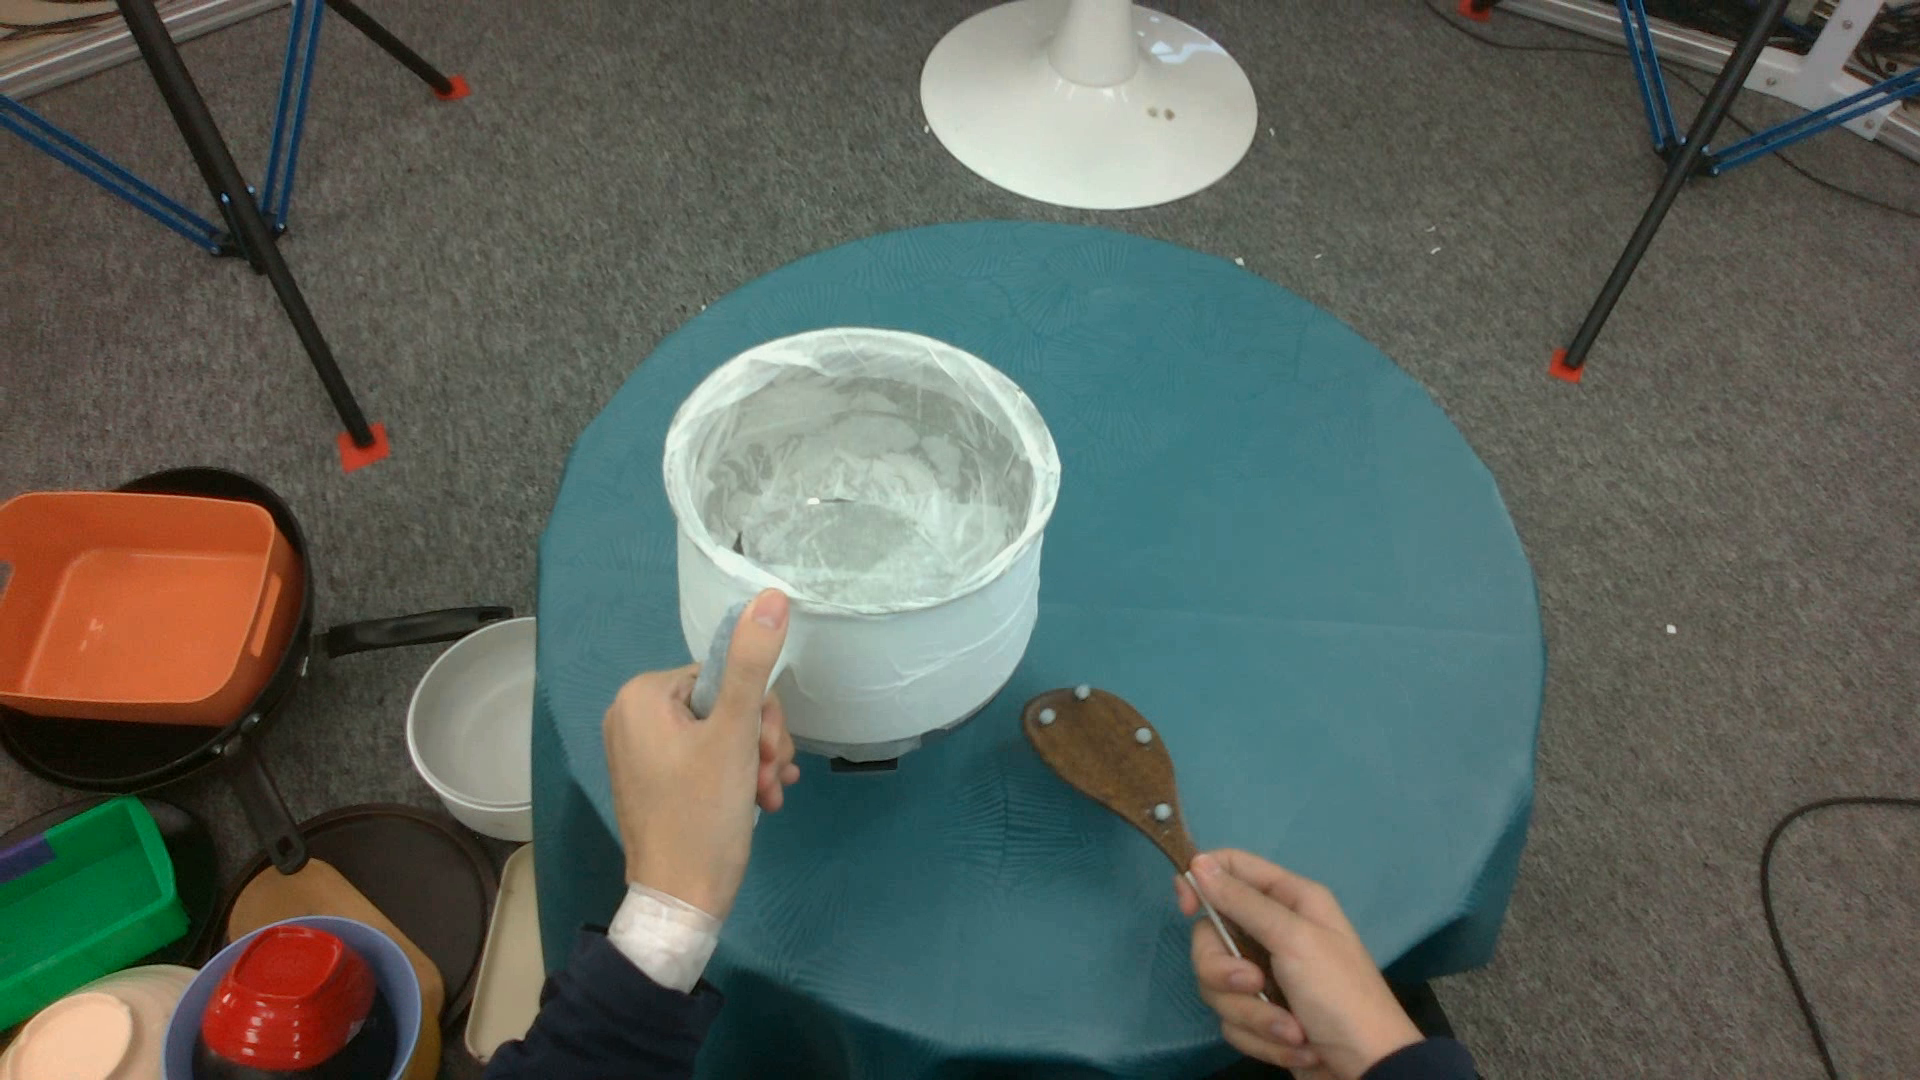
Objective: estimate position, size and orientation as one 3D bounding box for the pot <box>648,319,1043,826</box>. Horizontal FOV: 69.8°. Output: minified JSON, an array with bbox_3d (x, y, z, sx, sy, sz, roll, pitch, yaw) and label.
[{"bbox_3d":[-0.065,0.018,0.647,0.178,0.136,0.235,19,48,13],"label":"pot"}]

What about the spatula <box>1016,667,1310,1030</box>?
[{"bbox_3d":[0.096,0.142,0.662,0.072,0.009,0.216,-9,50,-34],"label":"spatula"}]
